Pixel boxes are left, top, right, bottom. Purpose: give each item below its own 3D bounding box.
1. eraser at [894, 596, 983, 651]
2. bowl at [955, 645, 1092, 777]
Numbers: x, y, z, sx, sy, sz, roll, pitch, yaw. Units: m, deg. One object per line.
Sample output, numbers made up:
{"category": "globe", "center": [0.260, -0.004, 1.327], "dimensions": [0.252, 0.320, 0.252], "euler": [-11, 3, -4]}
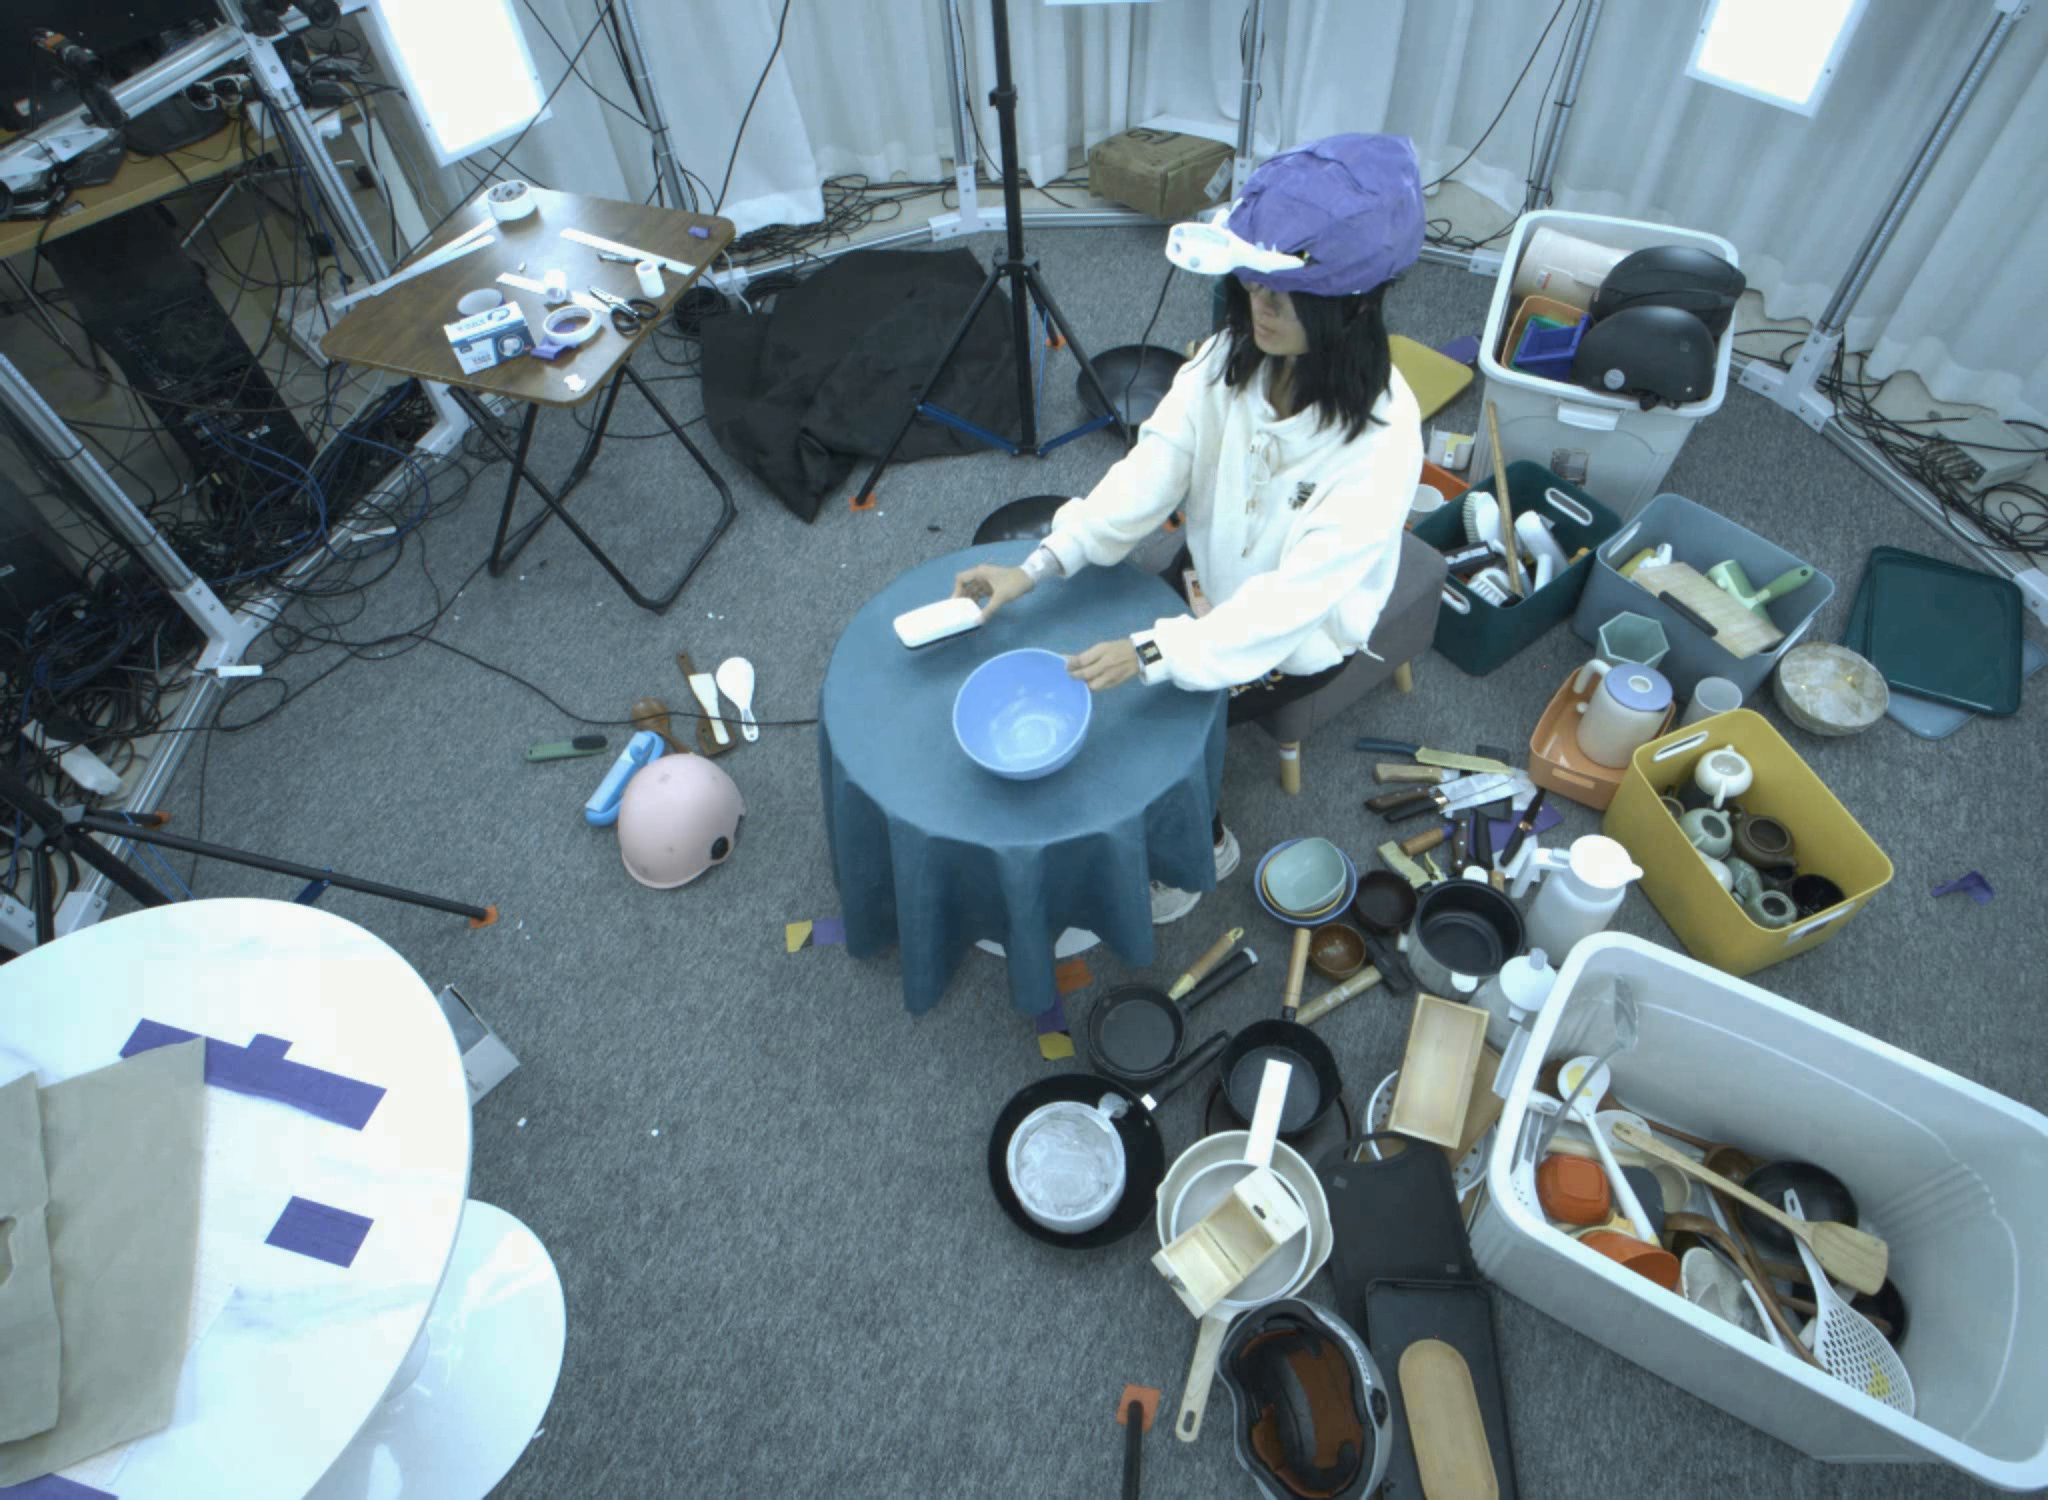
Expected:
{"category": "eraser", "center": [-0.128, -0.194, 1.854], "dimensions": [0.132, 0.035, 0.062], "euler": [-21, 48, -19]}
{"category": "bowl", "center": [0.011, -0.042, 1.746], "dimensions": [0.195, 0.097, 0.195], "euler": [-6, 64, 14]}
